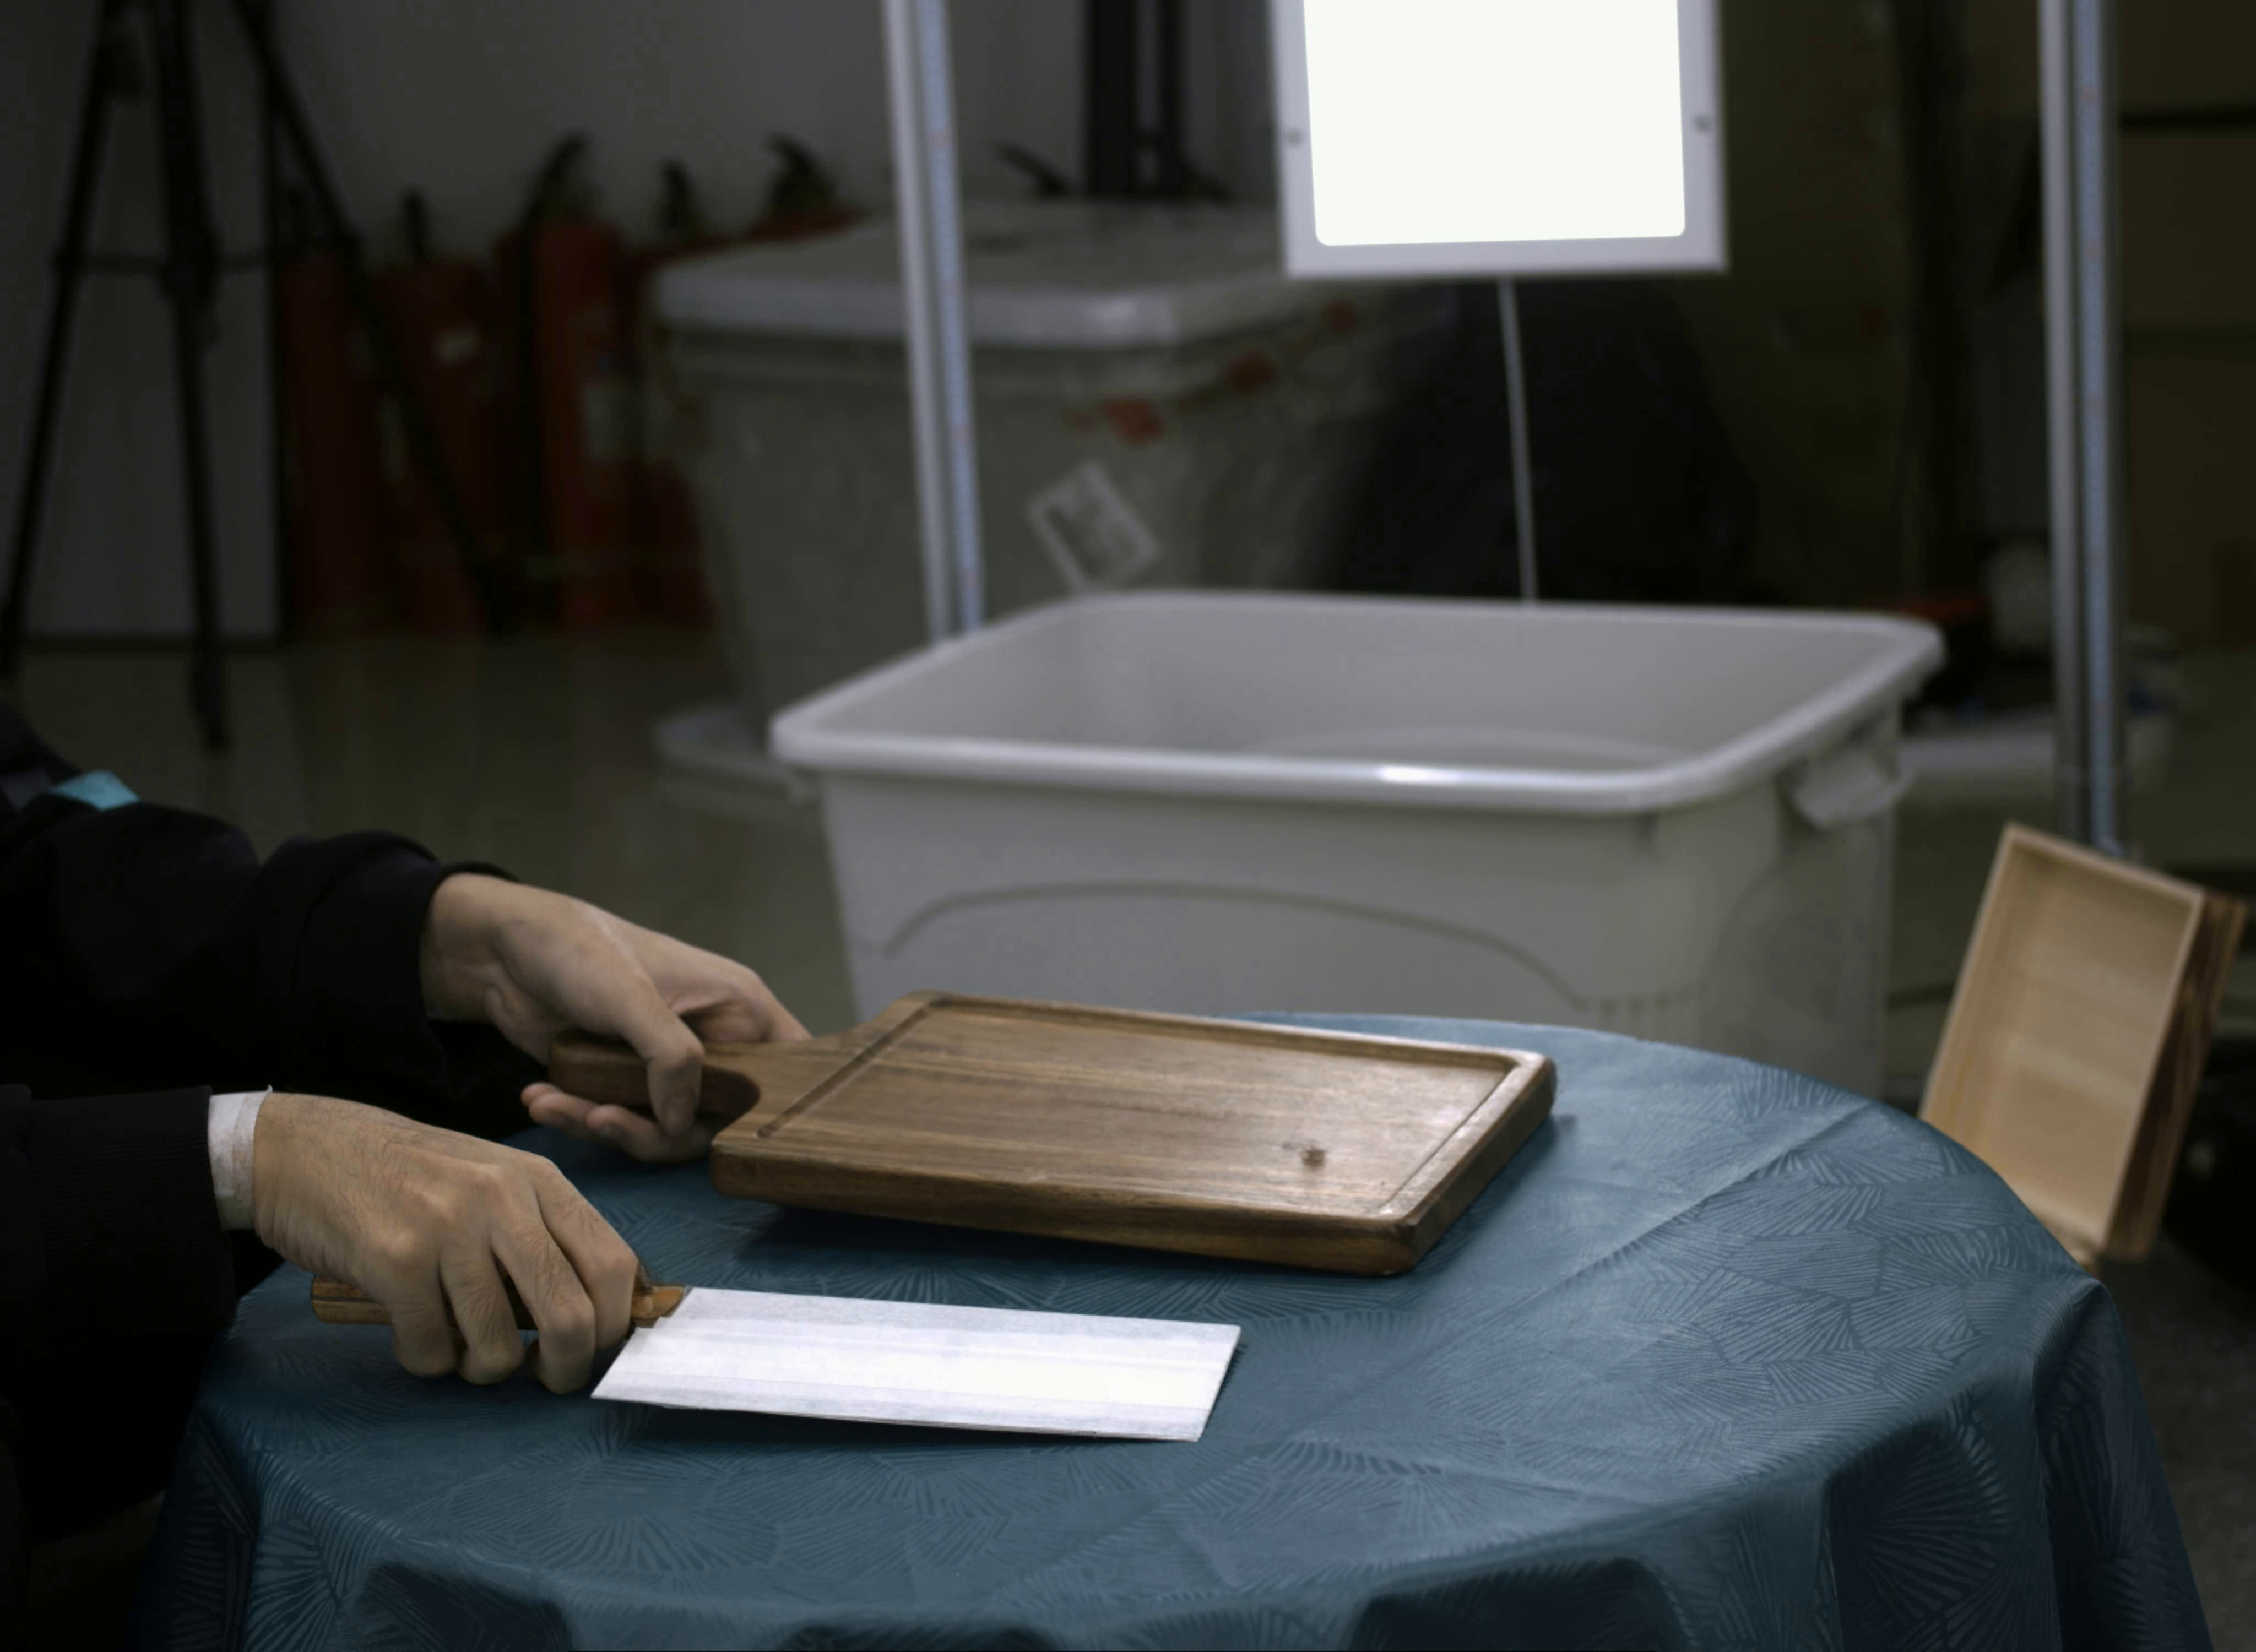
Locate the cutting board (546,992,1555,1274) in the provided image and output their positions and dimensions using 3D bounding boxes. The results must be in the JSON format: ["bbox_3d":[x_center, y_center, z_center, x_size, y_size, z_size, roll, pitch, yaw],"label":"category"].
[{"bbox_3d":[-0.041,0.099,1.927,0.357,0.023,0.197,5,16,20],"label":"cutting board"}]

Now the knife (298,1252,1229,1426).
[{"bbox_3d":[-0.120,0.164,1.728,0.308,0.021,0.092,3,19,12],"label":"knife"}]
